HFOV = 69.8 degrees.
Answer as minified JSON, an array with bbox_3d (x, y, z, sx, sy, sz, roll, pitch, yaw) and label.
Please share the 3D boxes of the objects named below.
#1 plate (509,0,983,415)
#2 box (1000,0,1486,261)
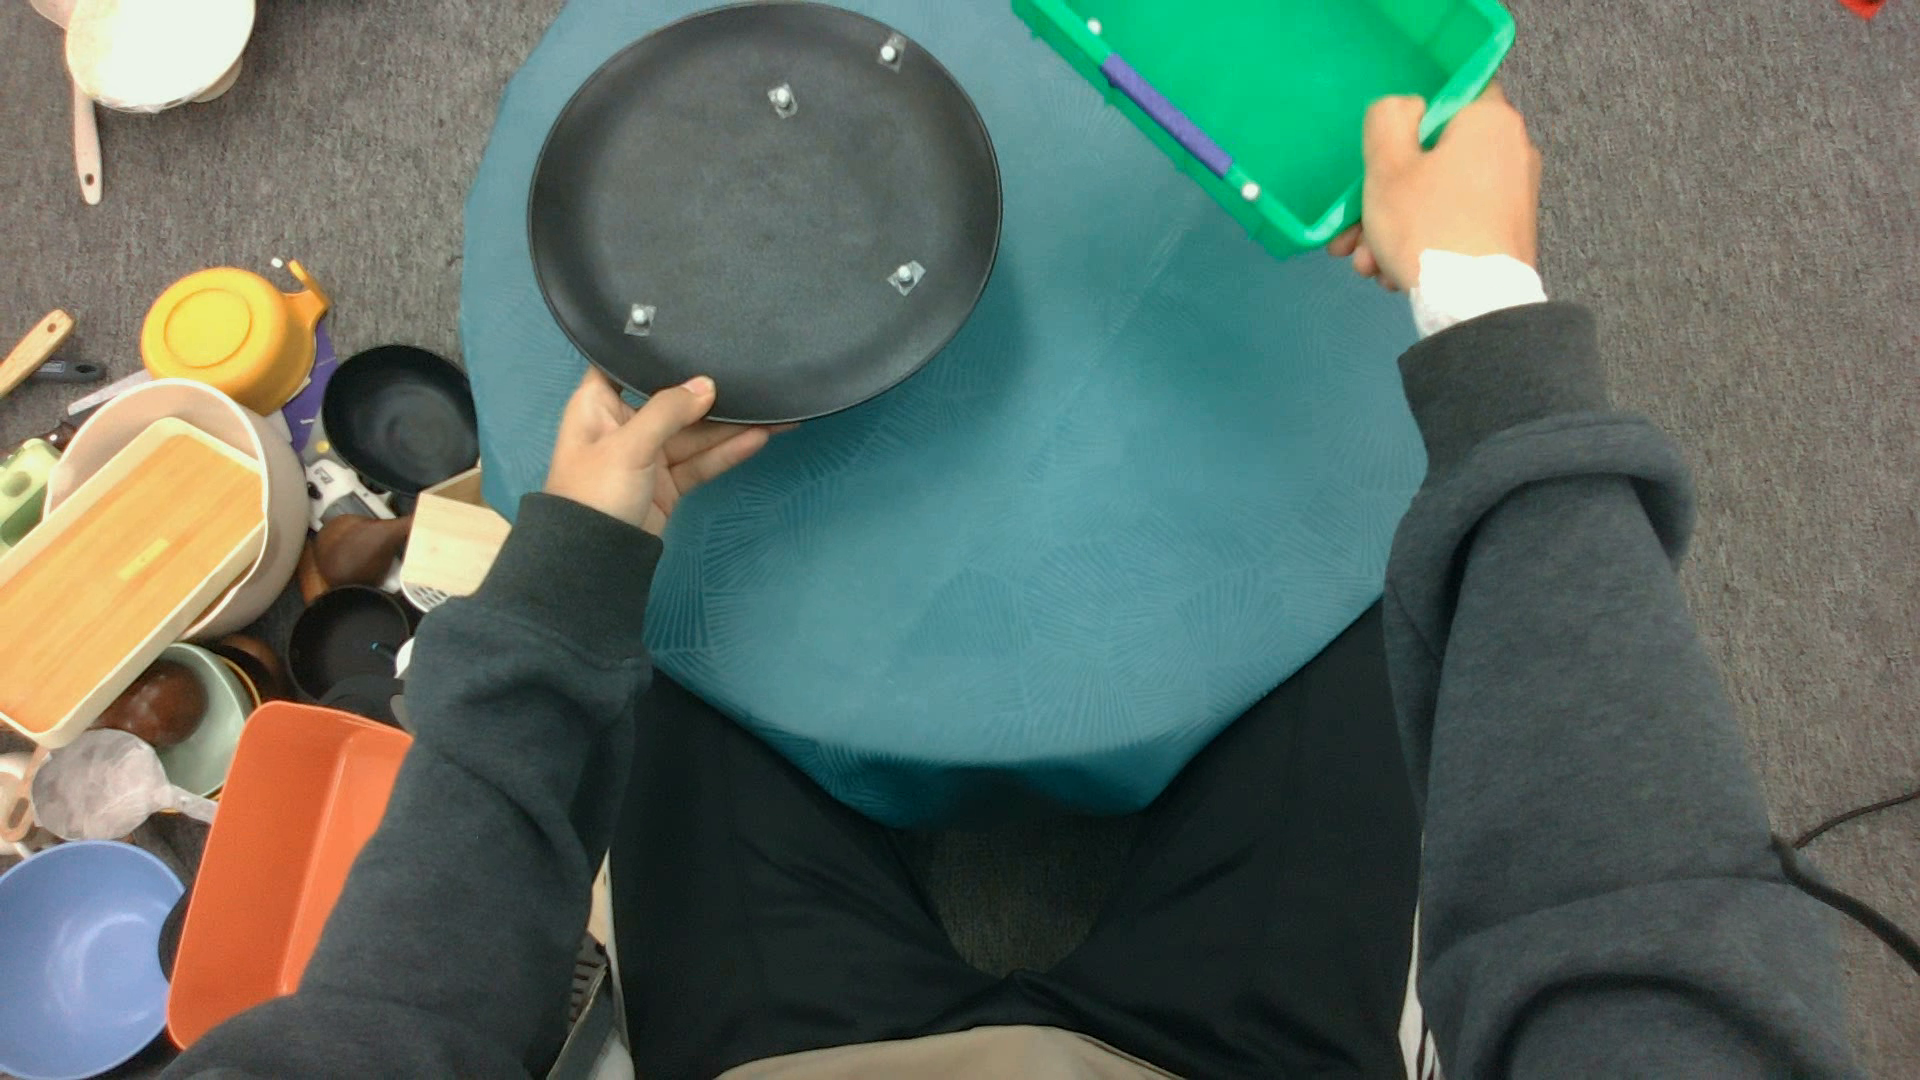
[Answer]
[{"bbox_3d":[-0.109,-0.174,0.719,0.244,0.023,0.245,0,72,-1],"label":"plate"},{"bbox_3d":[0.126,-0.242,0.658,0.210,0.065,0.139,43,87,2],"label":"box"}]
